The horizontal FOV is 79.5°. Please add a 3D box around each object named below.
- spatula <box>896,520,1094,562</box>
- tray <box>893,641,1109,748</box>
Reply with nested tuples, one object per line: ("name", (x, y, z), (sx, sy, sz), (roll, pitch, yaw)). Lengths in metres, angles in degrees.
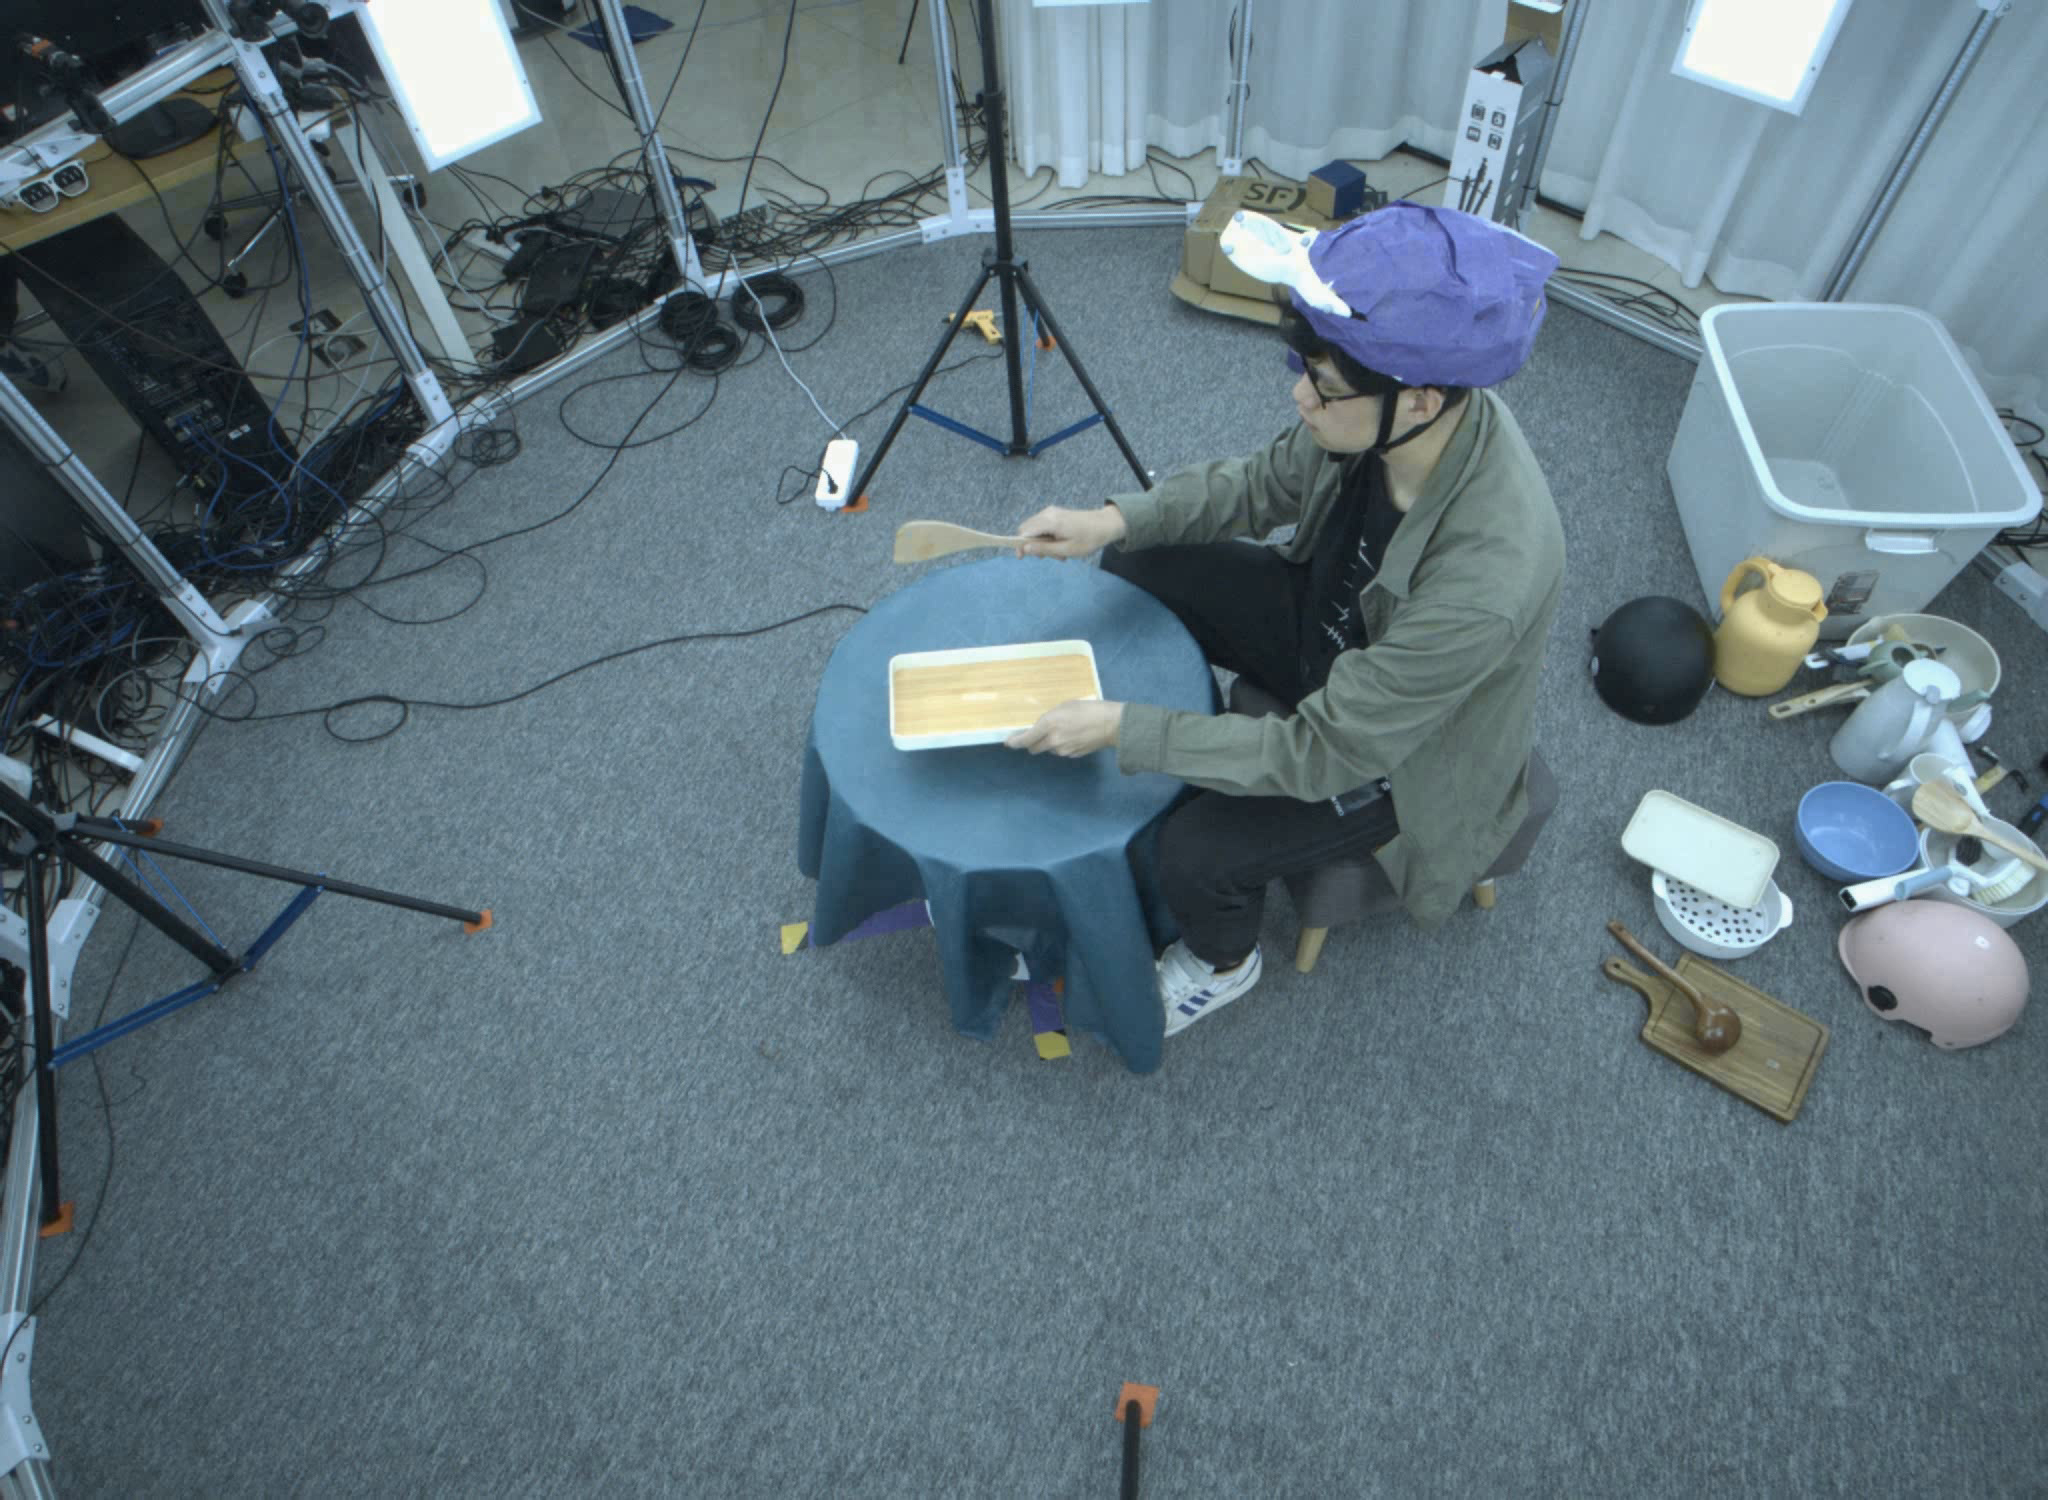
("spatula", (-0.040, -0.303, 1.796), (0.334, 0.080, 0.016), (-3, 54, -29))
("tray", (-0.037, -0.082, 1.768), (0.301, 0.027, 0.189), (-3, 43, -5))
